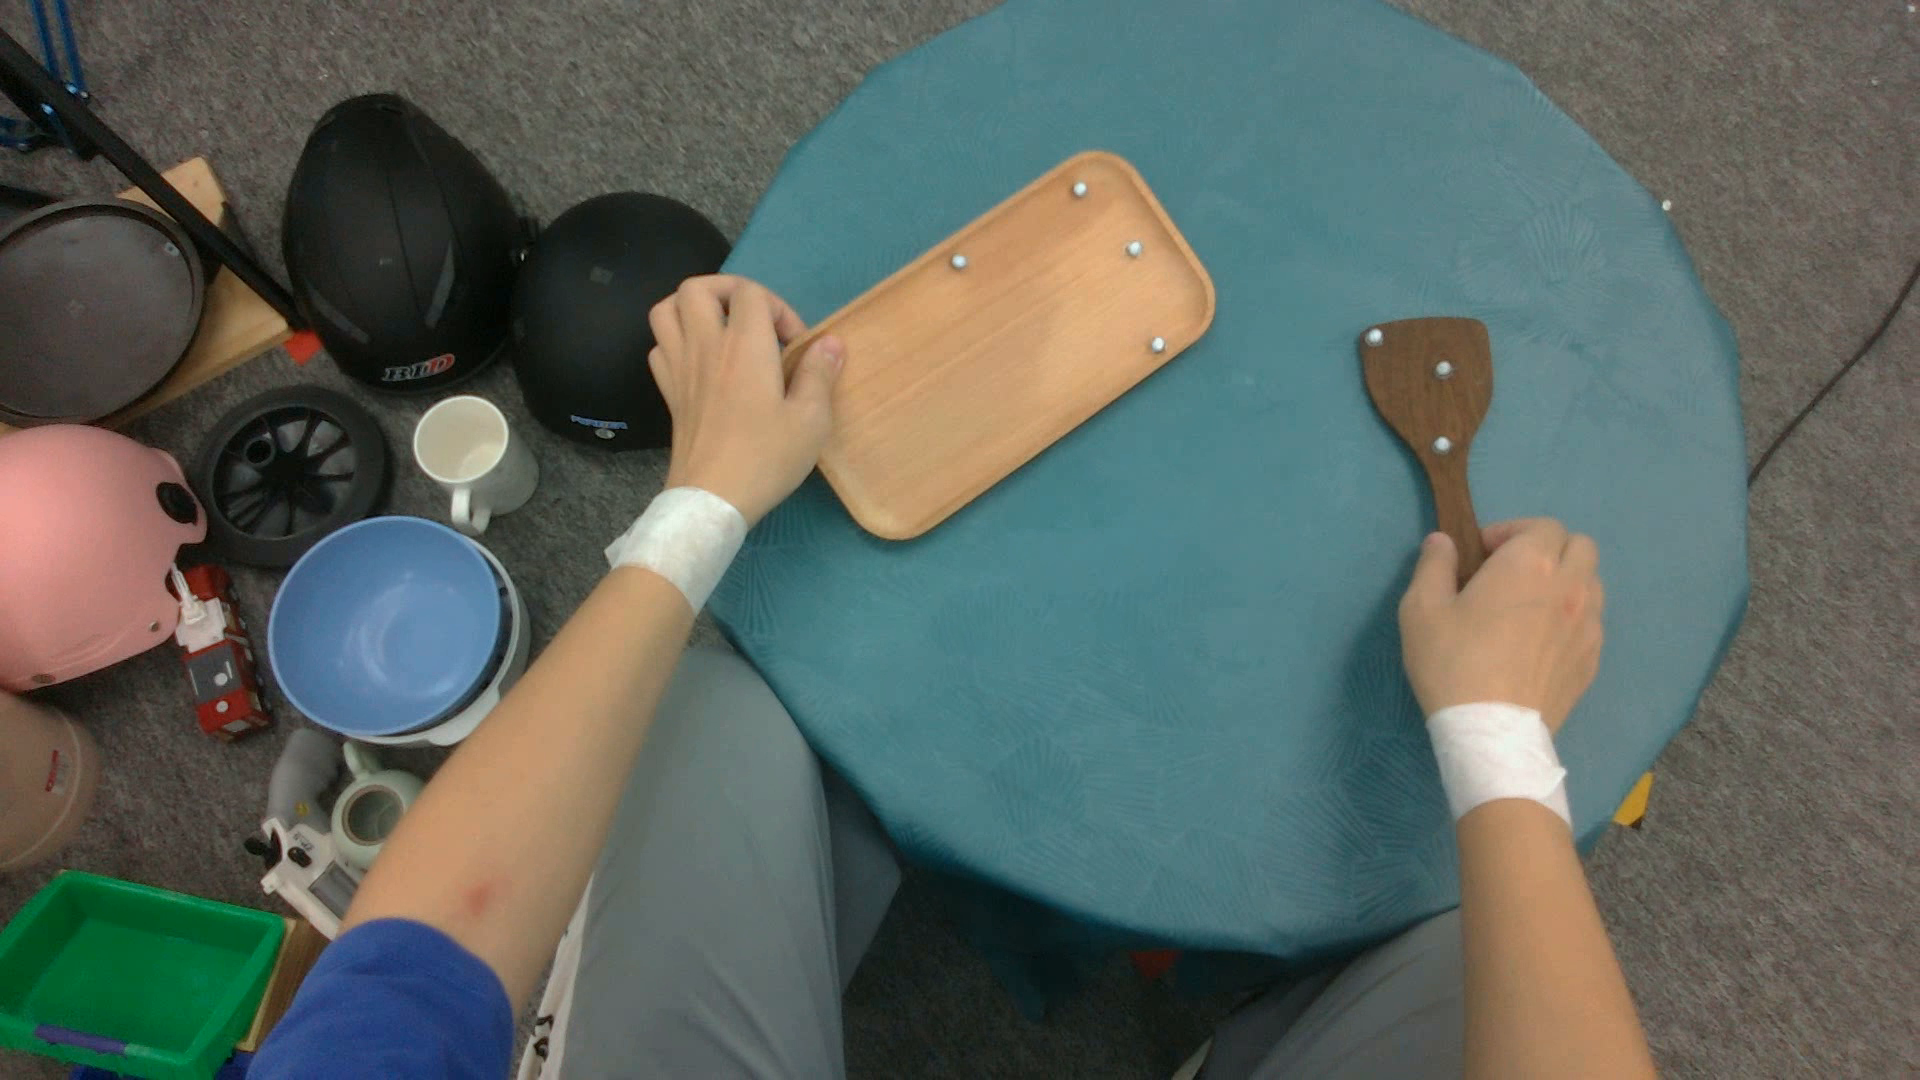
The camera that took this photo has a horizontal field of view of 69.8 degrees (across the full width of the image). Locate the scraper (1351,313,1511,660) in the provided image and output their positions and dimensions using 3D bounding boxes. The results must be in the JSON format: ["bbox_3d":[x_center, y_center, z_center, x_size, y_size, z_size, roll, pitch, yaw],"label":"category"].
[{"bbox_3d":[0.272,-0.034,0.768,0.076,0.011,0.212,-5,66,4],"label":"scraper"}]

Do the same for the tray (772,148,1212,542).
[{"bbox_3d":[0.022,-0.111,0.775,0.251,0.023,0.130,-35,96,-11],"label":"tray"}]
